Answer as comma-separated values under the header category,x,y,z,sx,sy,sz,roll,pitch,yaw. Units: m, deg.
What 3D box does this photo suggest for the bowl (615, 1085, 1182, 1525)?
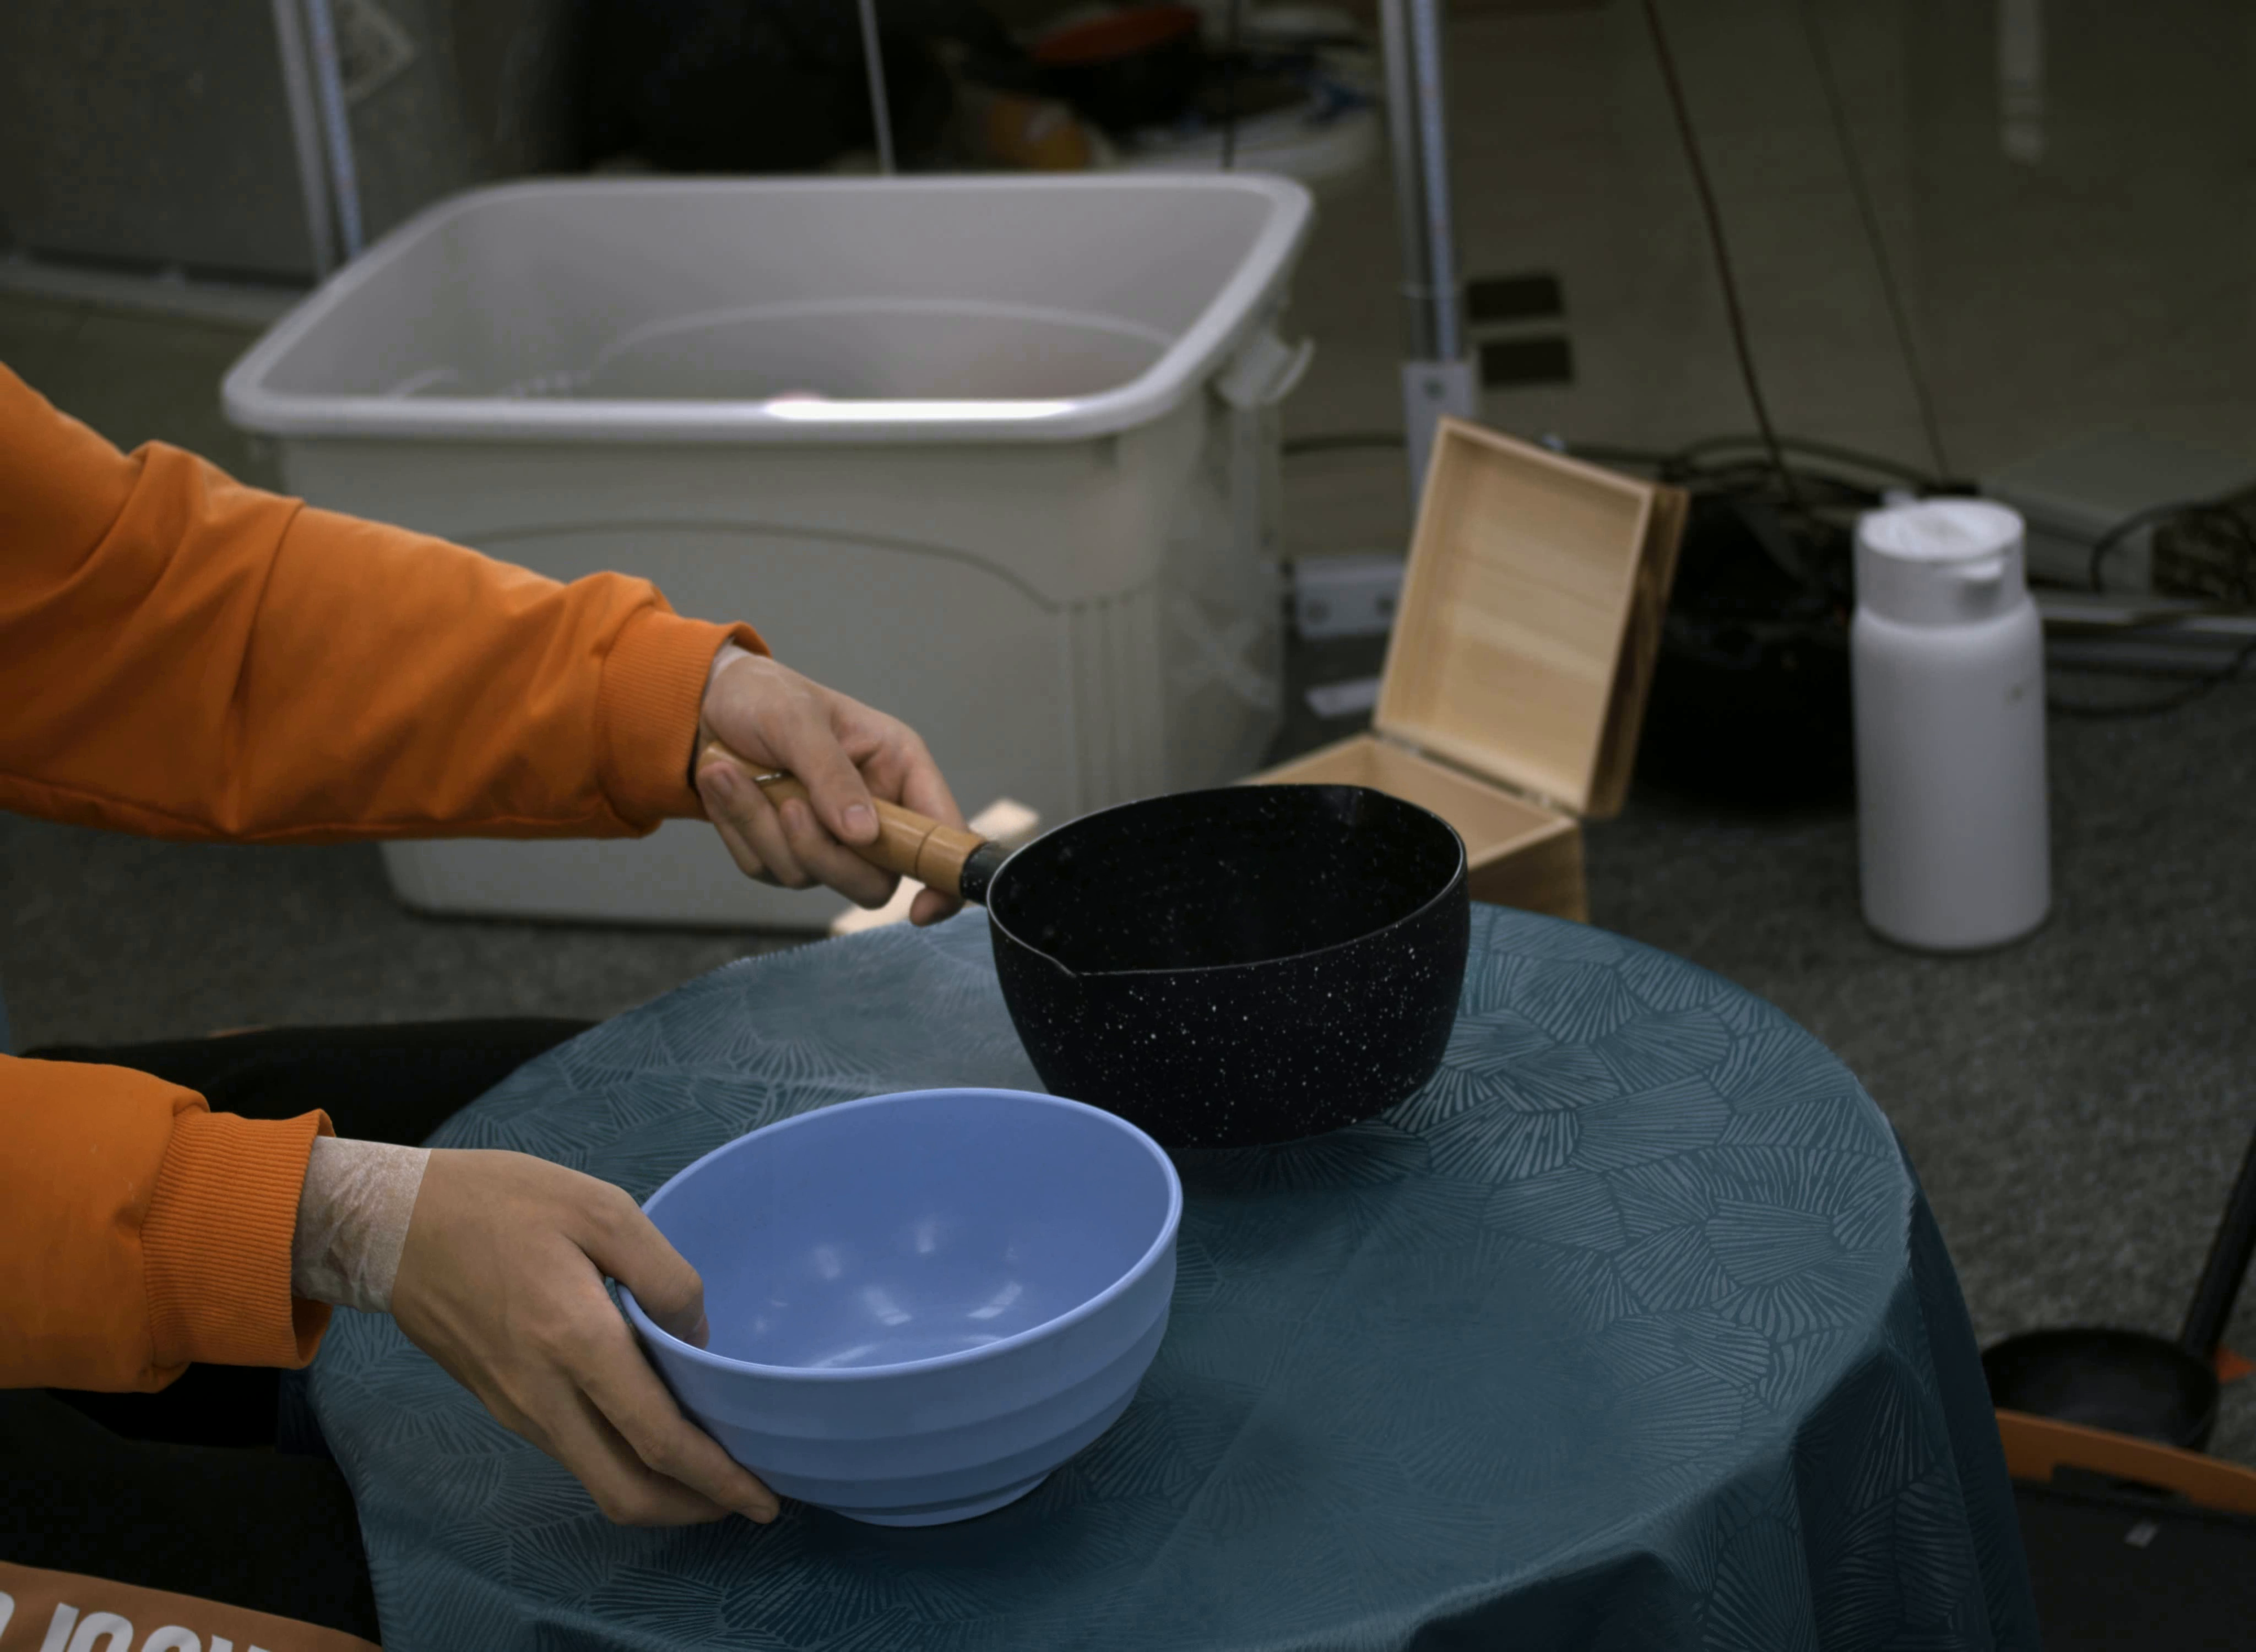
category,x,y,z,sx,sy,sz,roll,pitch,yaw
bowl,-0.074,0.178,1.964,0.196,0.097,0.193,-6,27,3

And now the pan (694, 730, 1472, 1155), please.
category,x,y,z,sx,sy,sz,roll,pitch,yaw
pan,-0.026,0.036,2.203,0.341,0.110,0.205,9,27,31
